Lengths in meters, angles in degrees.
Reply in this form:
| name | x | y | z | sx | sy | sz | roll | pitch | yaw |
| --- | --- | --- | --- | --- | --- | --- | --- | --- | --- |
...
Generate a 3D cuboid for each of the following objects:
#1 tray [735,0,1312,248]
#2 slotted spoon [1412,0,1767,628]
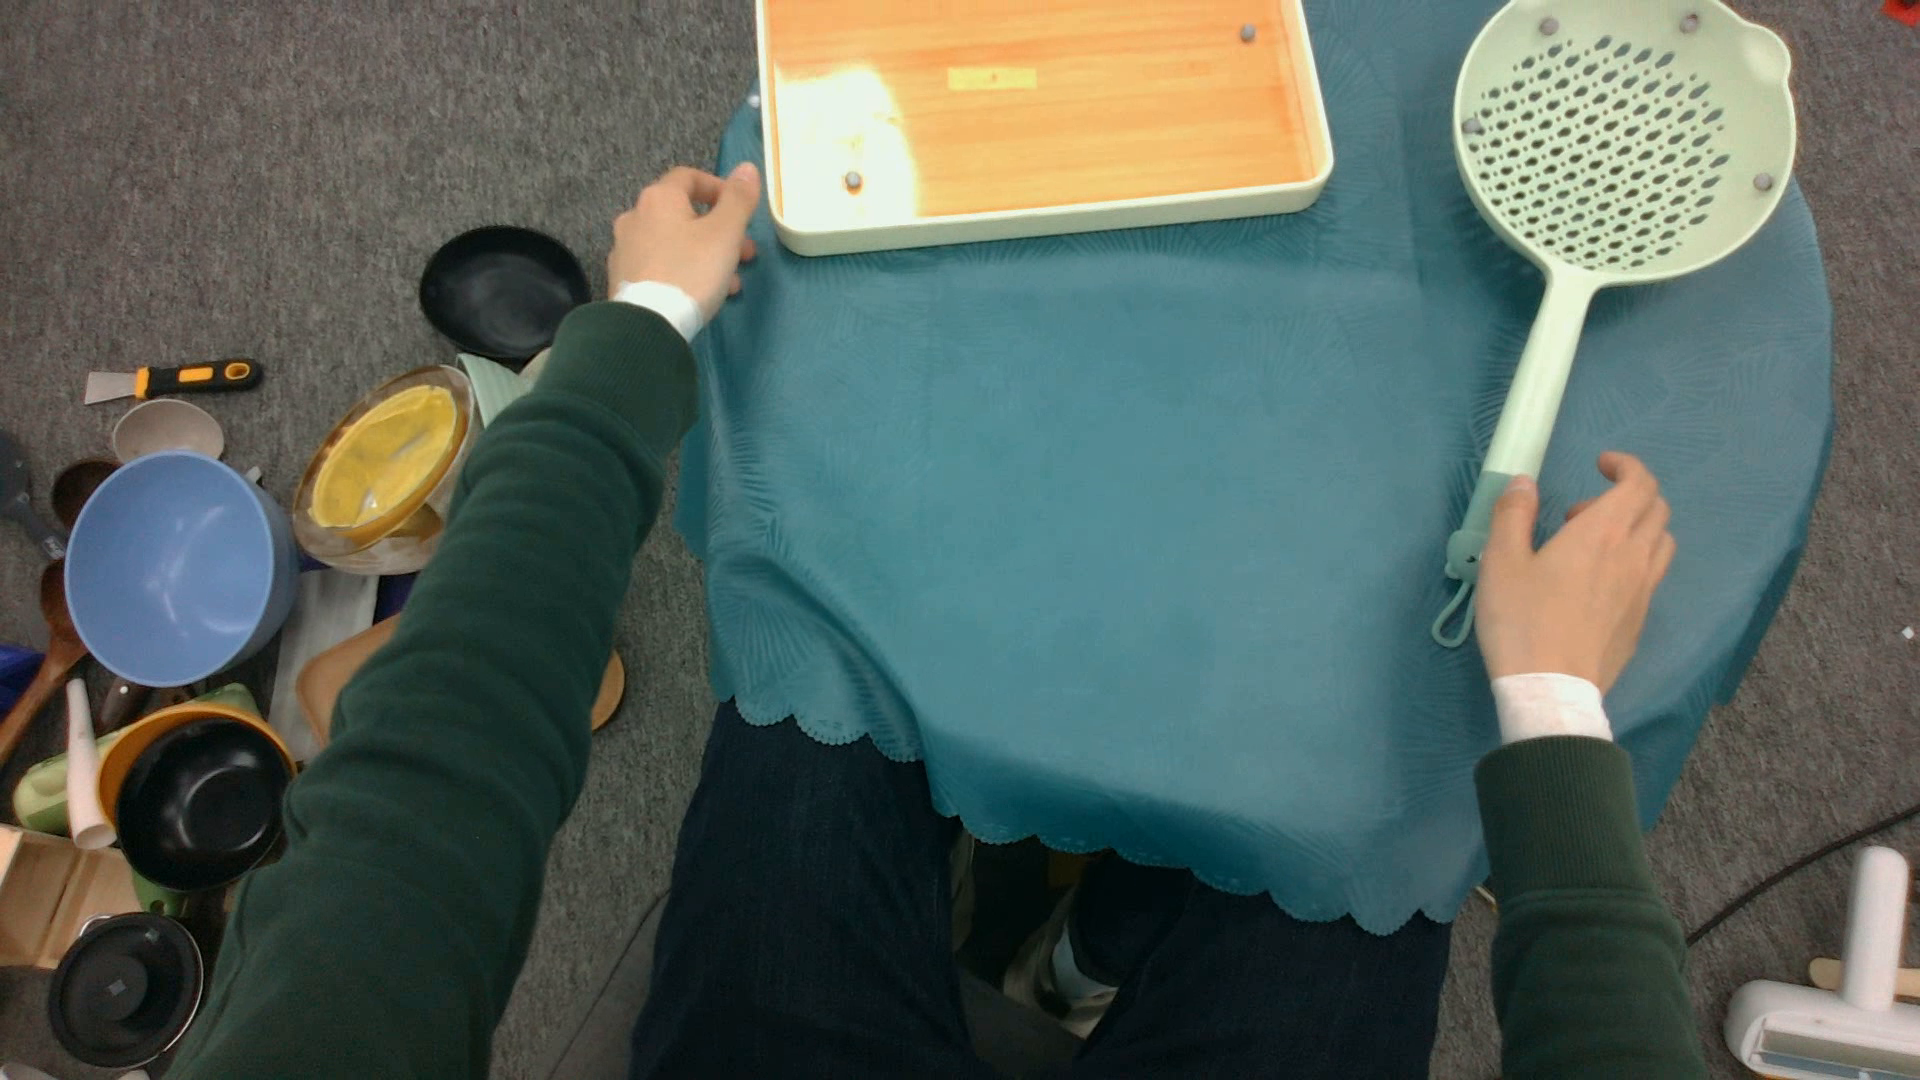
| name | x | y | z | sx | sy | sz | roll | pitch | yaw |
| --- | --- | --- | --- | --- | --- | --- | --- | --- | --- |
| tray | 0.030 | -0.260 | 0.760 | 0.300 | 0.027 | 0.192 | -6 | 71 | -2 |
| slotted spoon | 0.291 | -0.127 | 0.695 | 0.169 | 0.075 | 0.360 | 20 | 72 | 7 |
